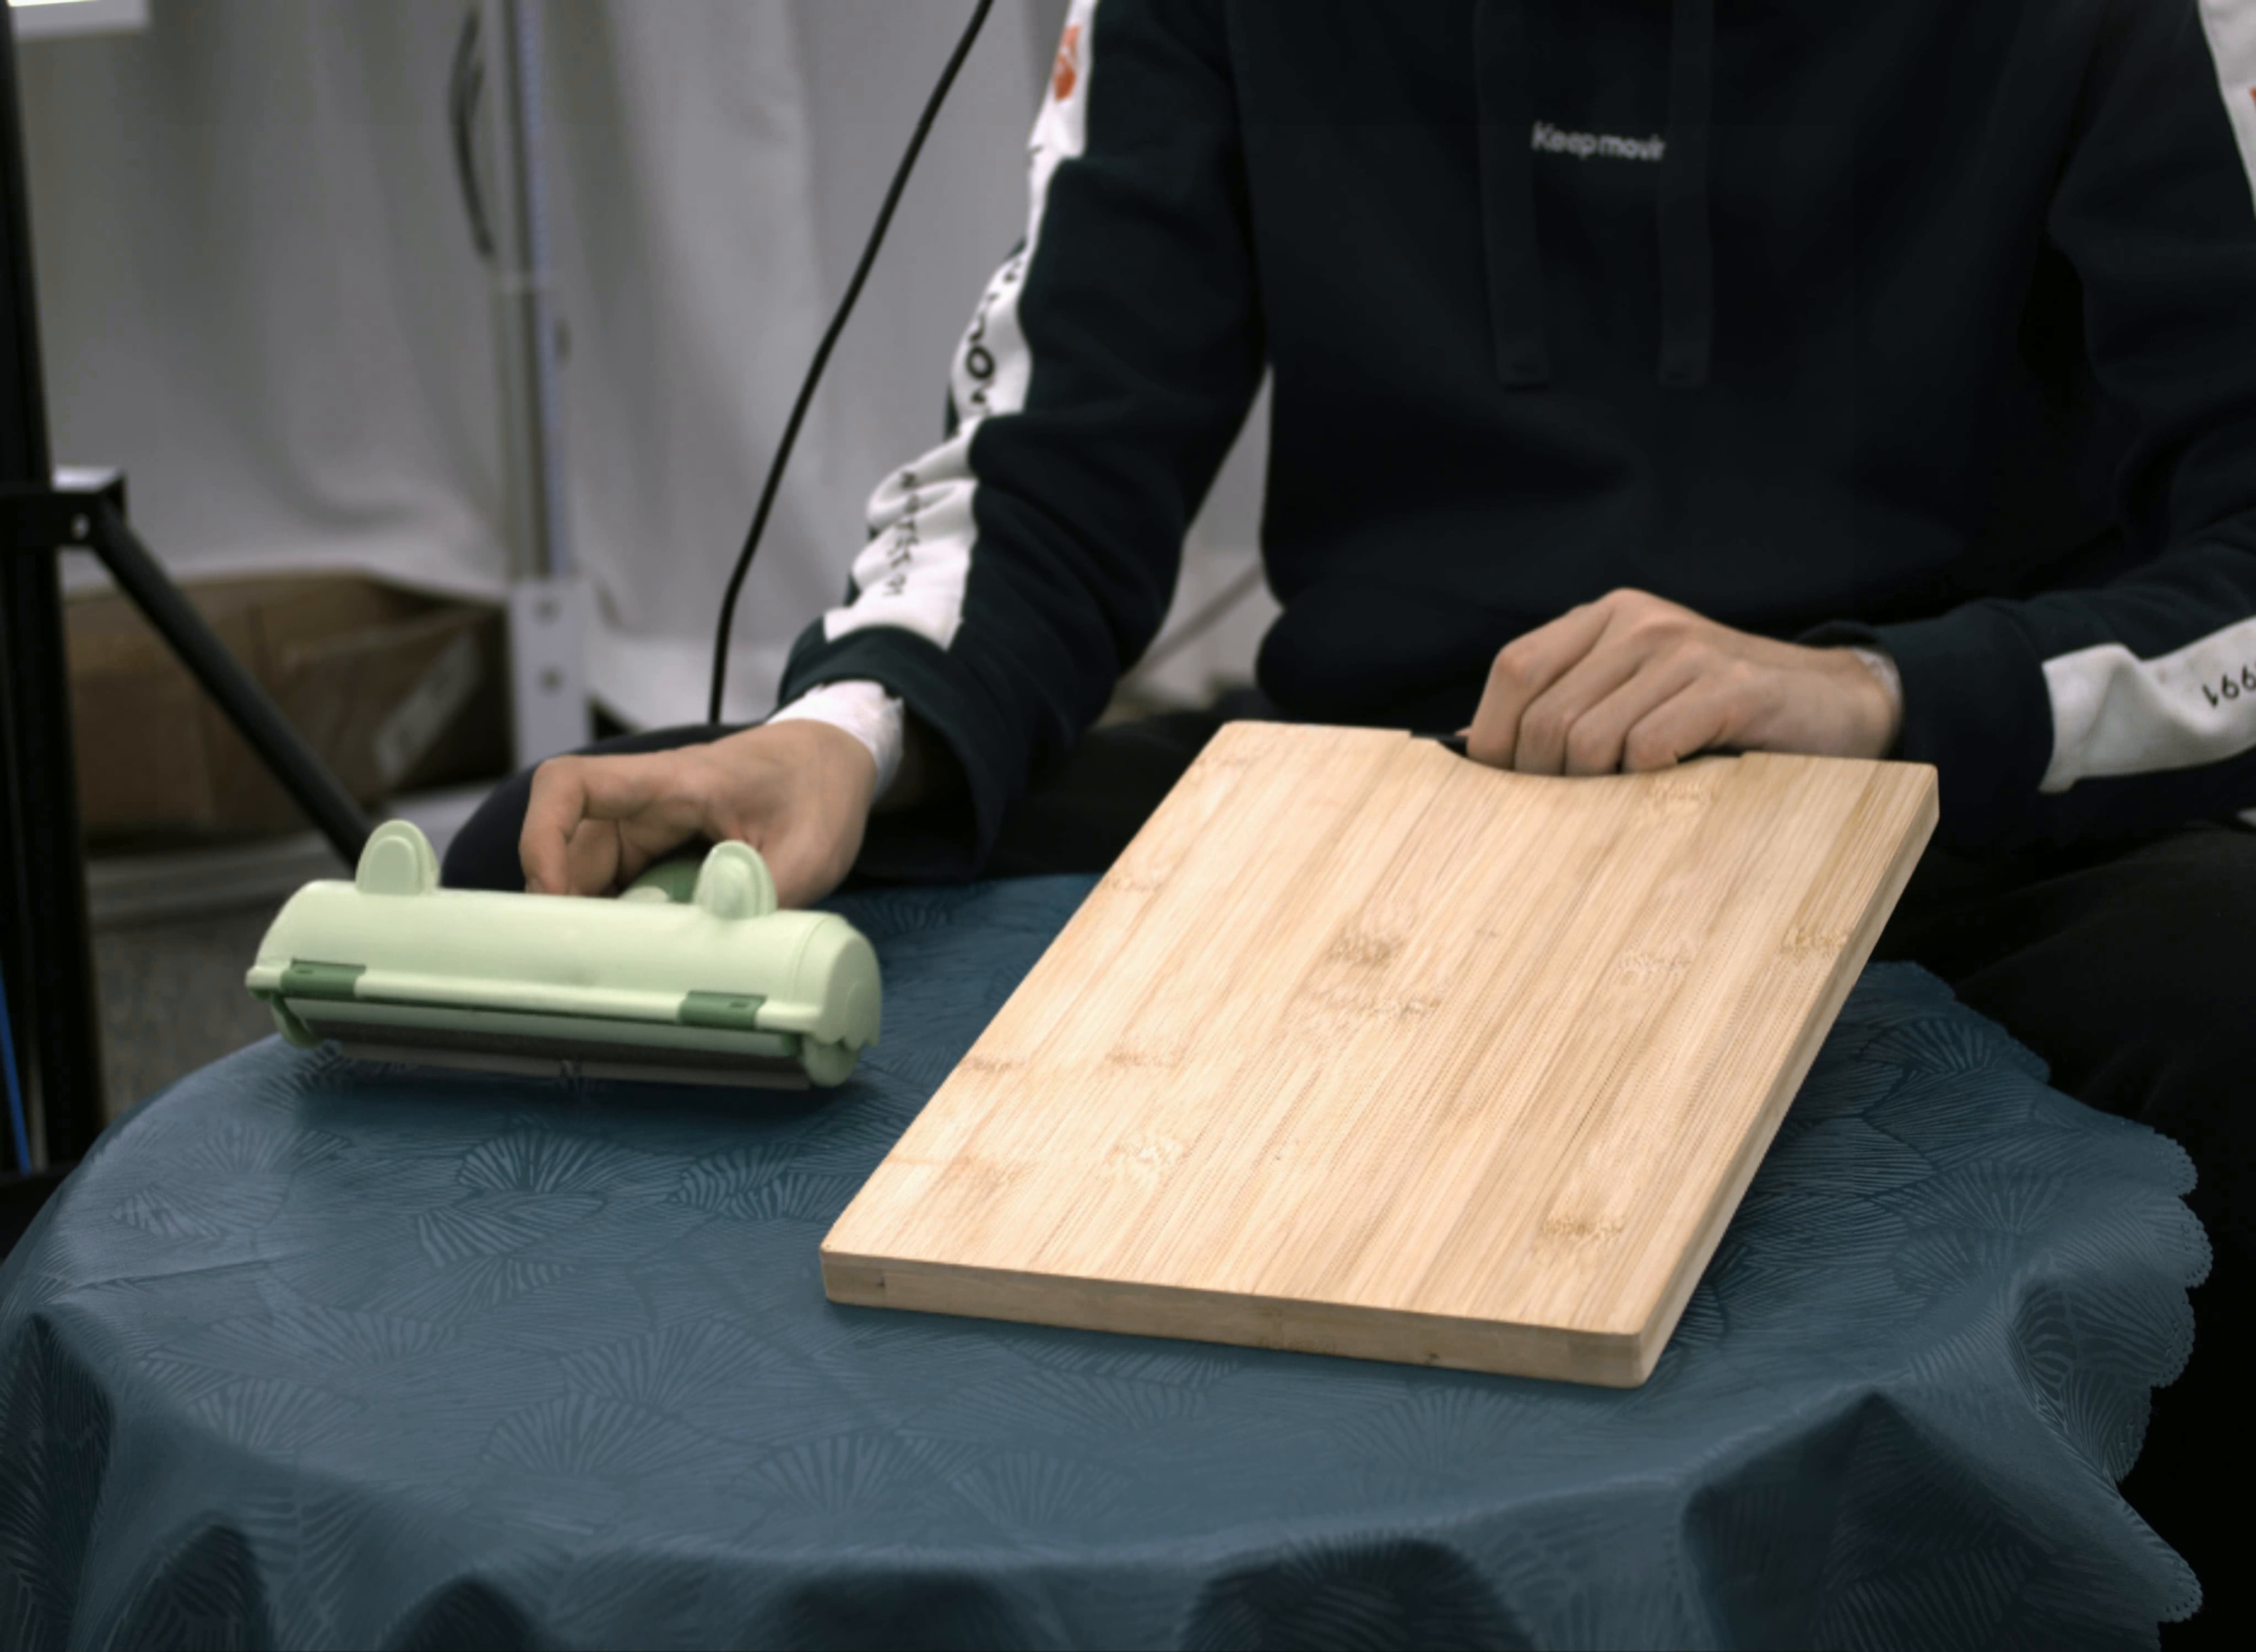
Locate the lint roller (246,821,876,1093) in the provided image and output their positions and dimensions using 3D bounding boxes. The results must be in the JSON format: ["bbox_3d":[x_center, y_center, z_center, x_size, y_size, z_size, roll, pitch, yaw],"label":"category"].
[{"bbox_3d":[-0.159,0.022,1.722,0.201,0.082,0.181,4,25,22],"label":"lint roller"}]

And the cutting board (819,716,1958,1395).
[{"bbox_3d":[0.086,0.058,1.572,0.254,0.023,0.346,4,28,22],"label":"cutting board"}]
